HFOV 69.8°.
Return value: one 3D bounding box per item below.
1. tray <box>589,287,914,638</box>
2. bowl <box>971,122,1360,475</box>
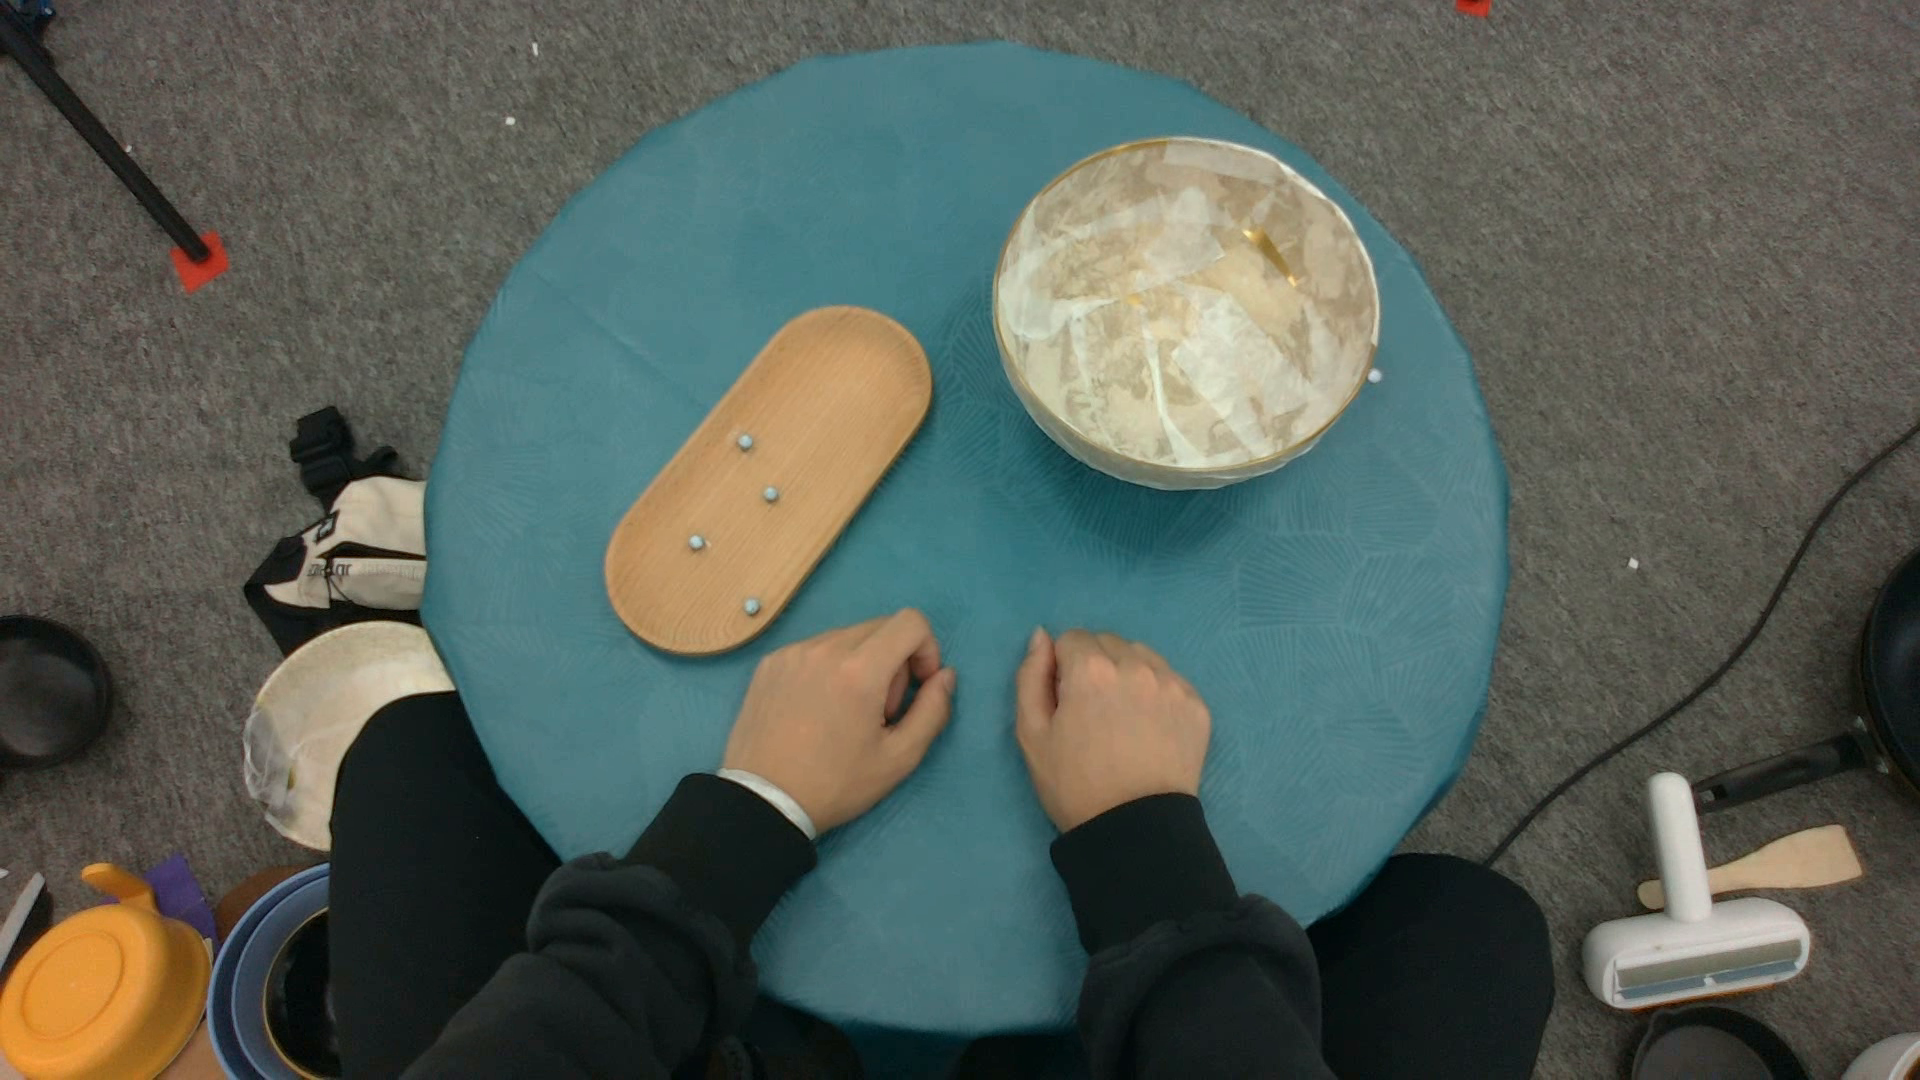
[{"bbox_3d":[-0.112,-0.046,0.760,0.101,0.020,0.232,32,69,7],"label":"tray"},{"bbox_3d":[0.103,-0.118,0.756,0.215,0.094,0.215,1,69,-4],"label":"bowl"}]
